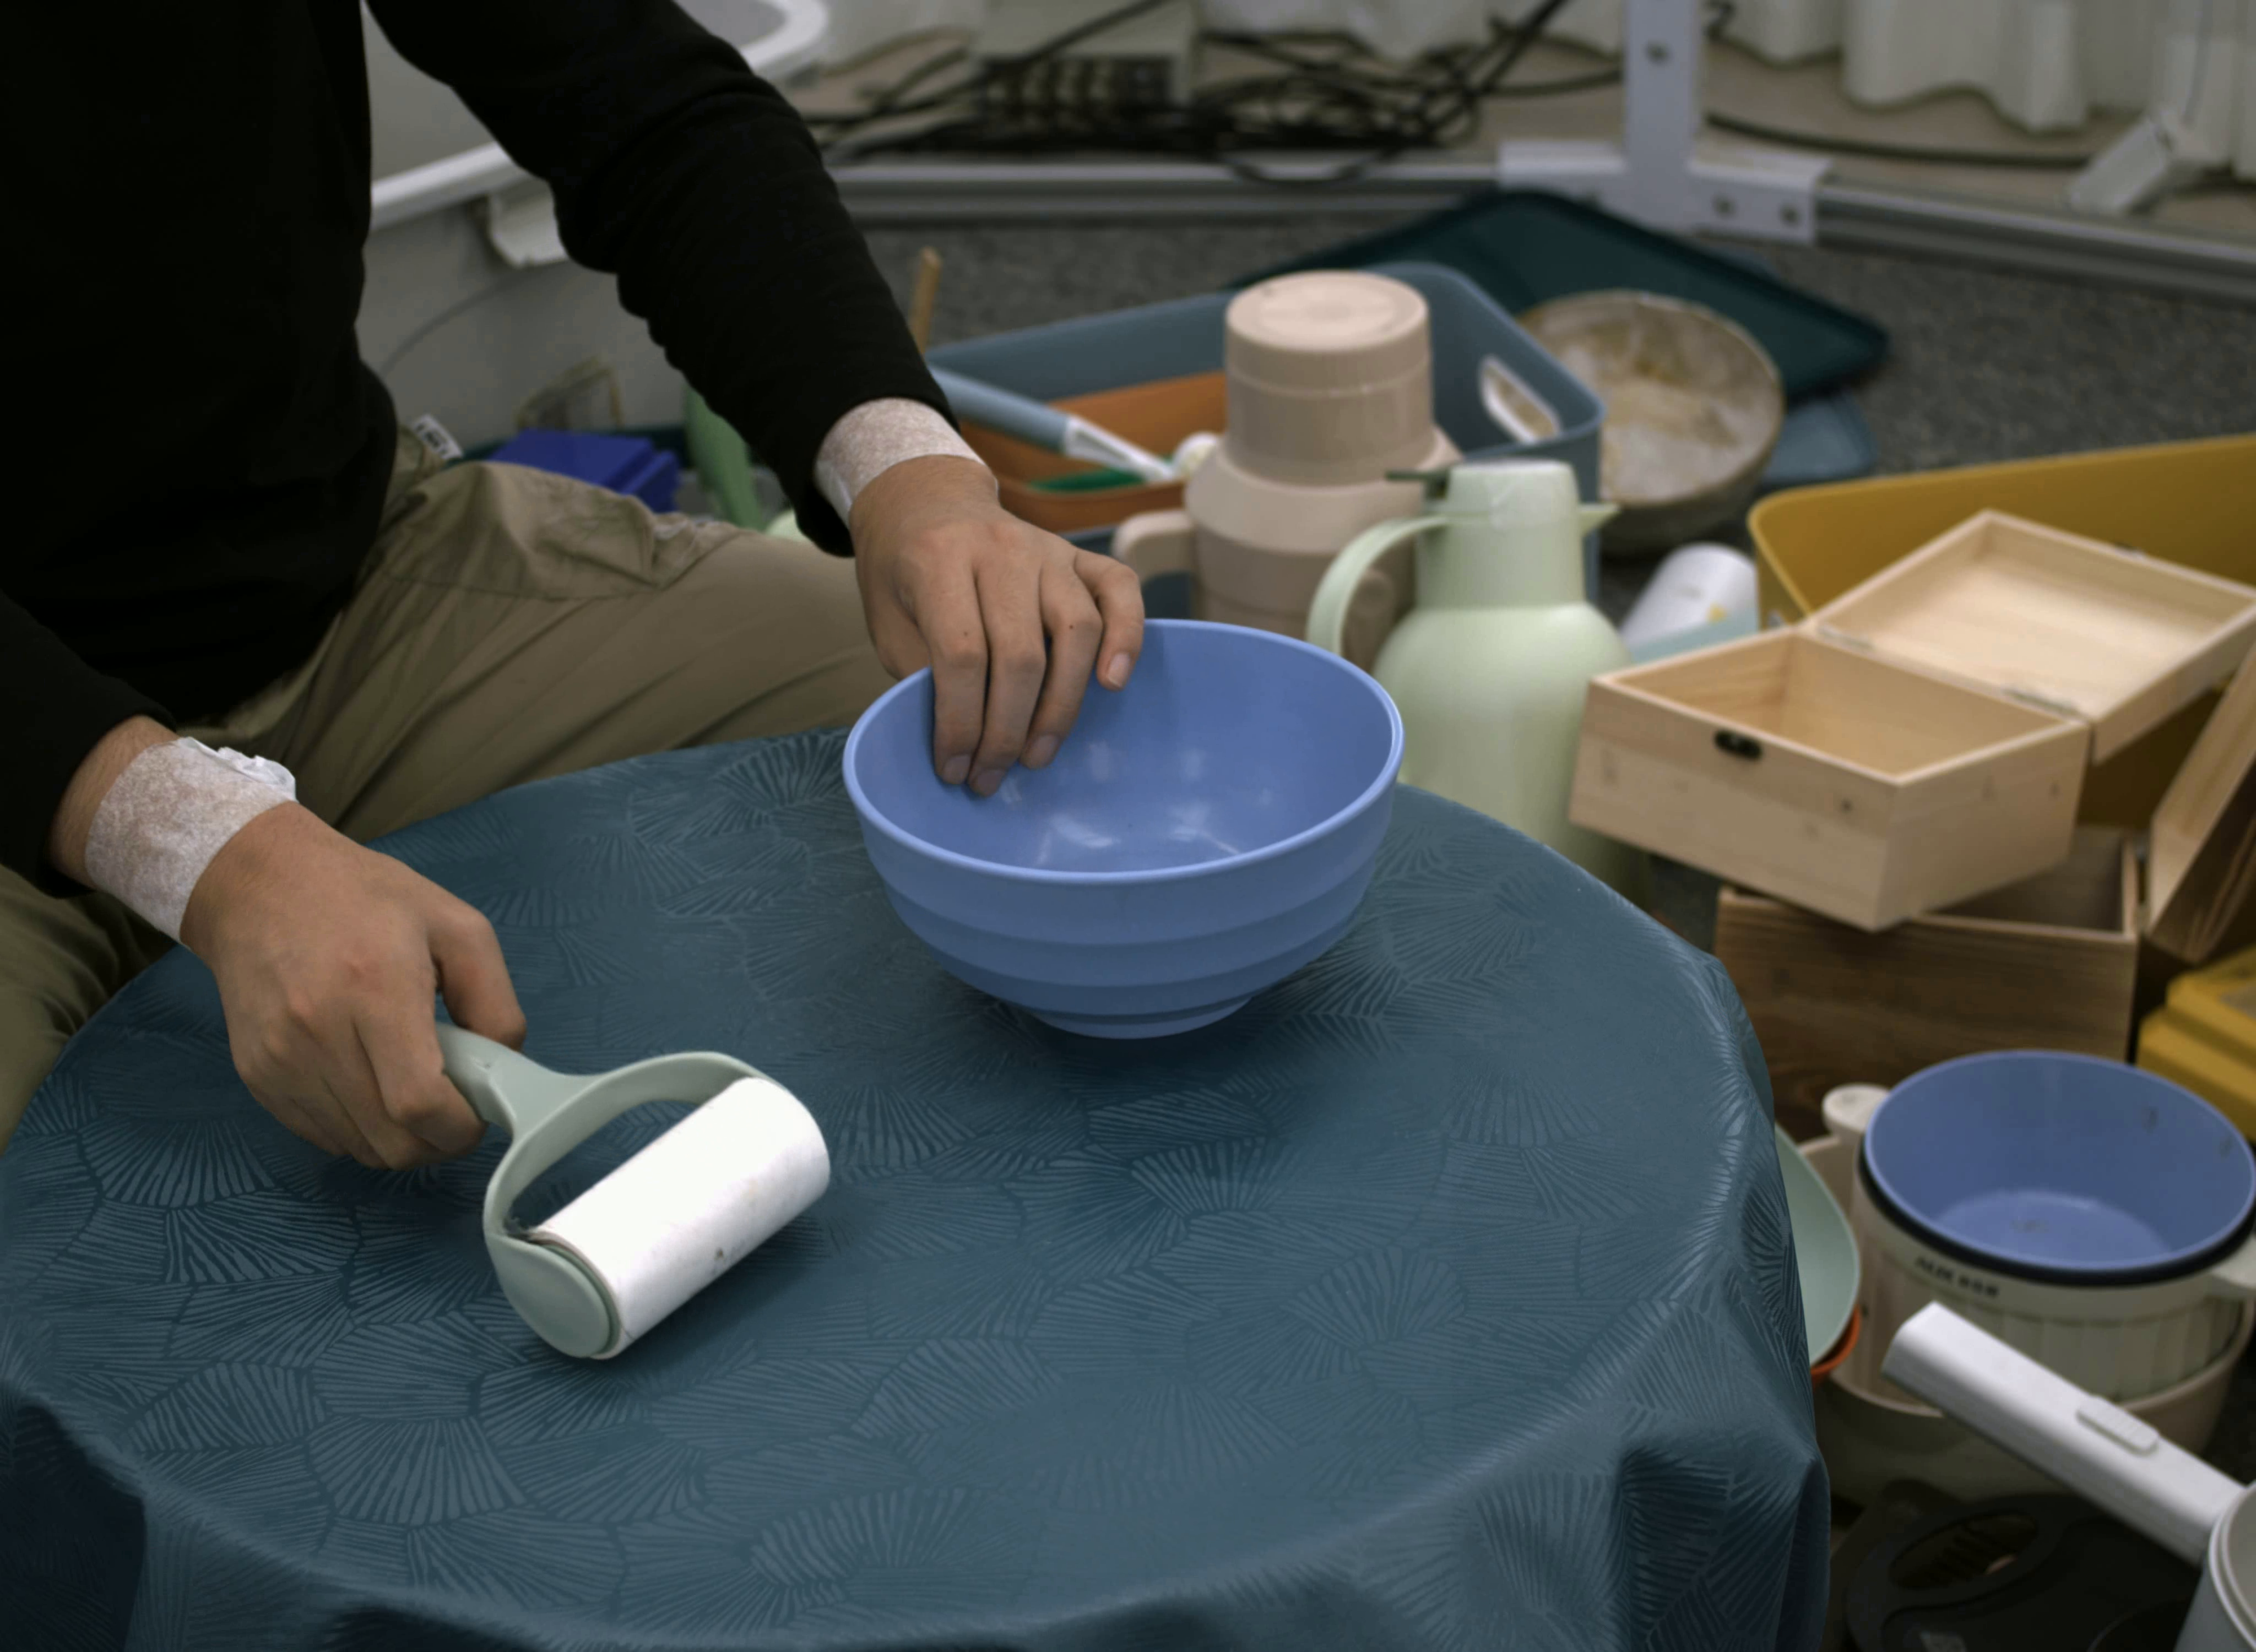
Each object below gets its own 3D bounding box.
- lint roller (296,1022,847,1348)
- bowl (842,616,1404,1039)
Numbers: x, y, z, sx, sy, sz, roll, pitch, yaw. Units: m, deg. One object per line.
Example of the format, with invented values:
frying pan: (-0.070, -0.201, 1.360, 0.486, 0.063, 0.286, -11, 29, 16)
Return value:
lint roller: (-0.197, 0.096, 1.847, 0.197, 0.048, 0.118, 25, 43, 29)
bowl: (0.001, 0.011, 1.971, 0.195, 0.094, 0.199, -3, 28, 2)
